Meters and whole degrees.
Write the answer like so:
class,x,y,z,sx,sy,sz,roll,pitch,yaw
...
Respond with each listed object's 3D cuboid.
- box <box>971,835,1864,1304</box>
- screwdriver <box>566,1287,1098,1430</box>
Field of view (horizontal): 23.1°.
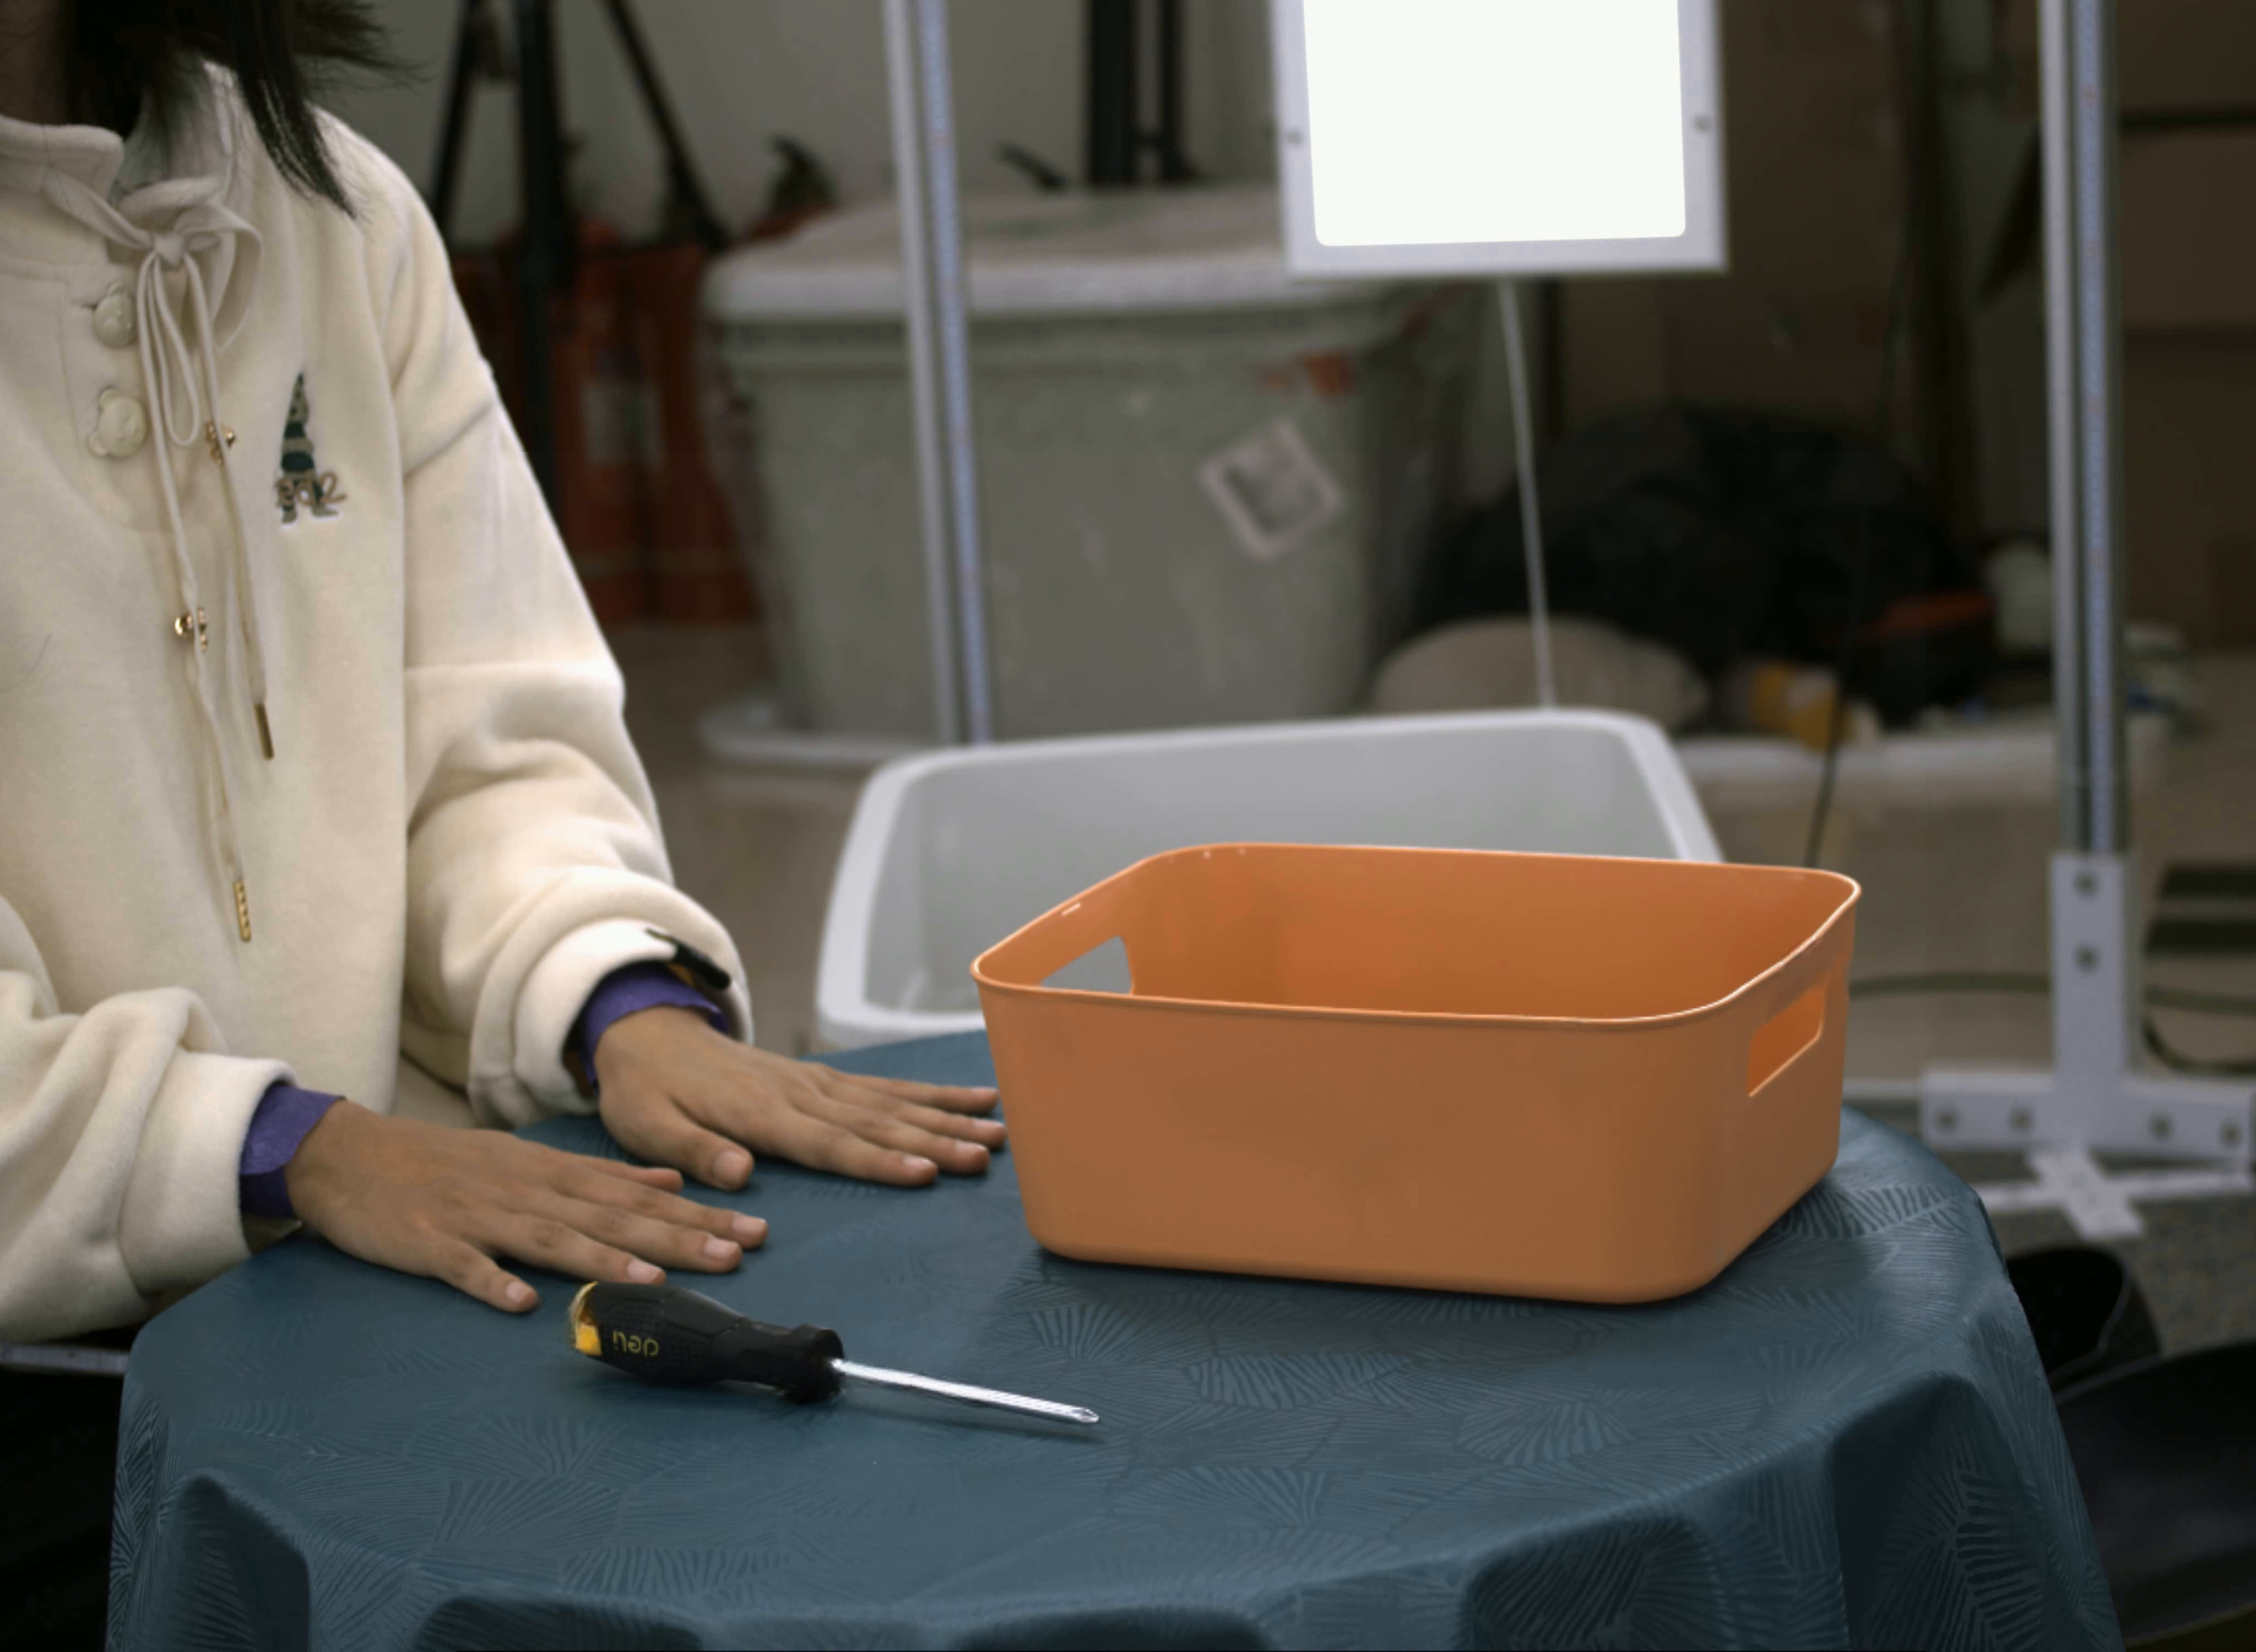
class,x,y,z,sx,sy,sz,roll,pitch,yaw
box,0.101,0.079,1.836,0.278,0.103,0.195,3,16,27
screwdriver,-0.094,0.171,1.712,0.200,0.031,0.030,9,19,35
